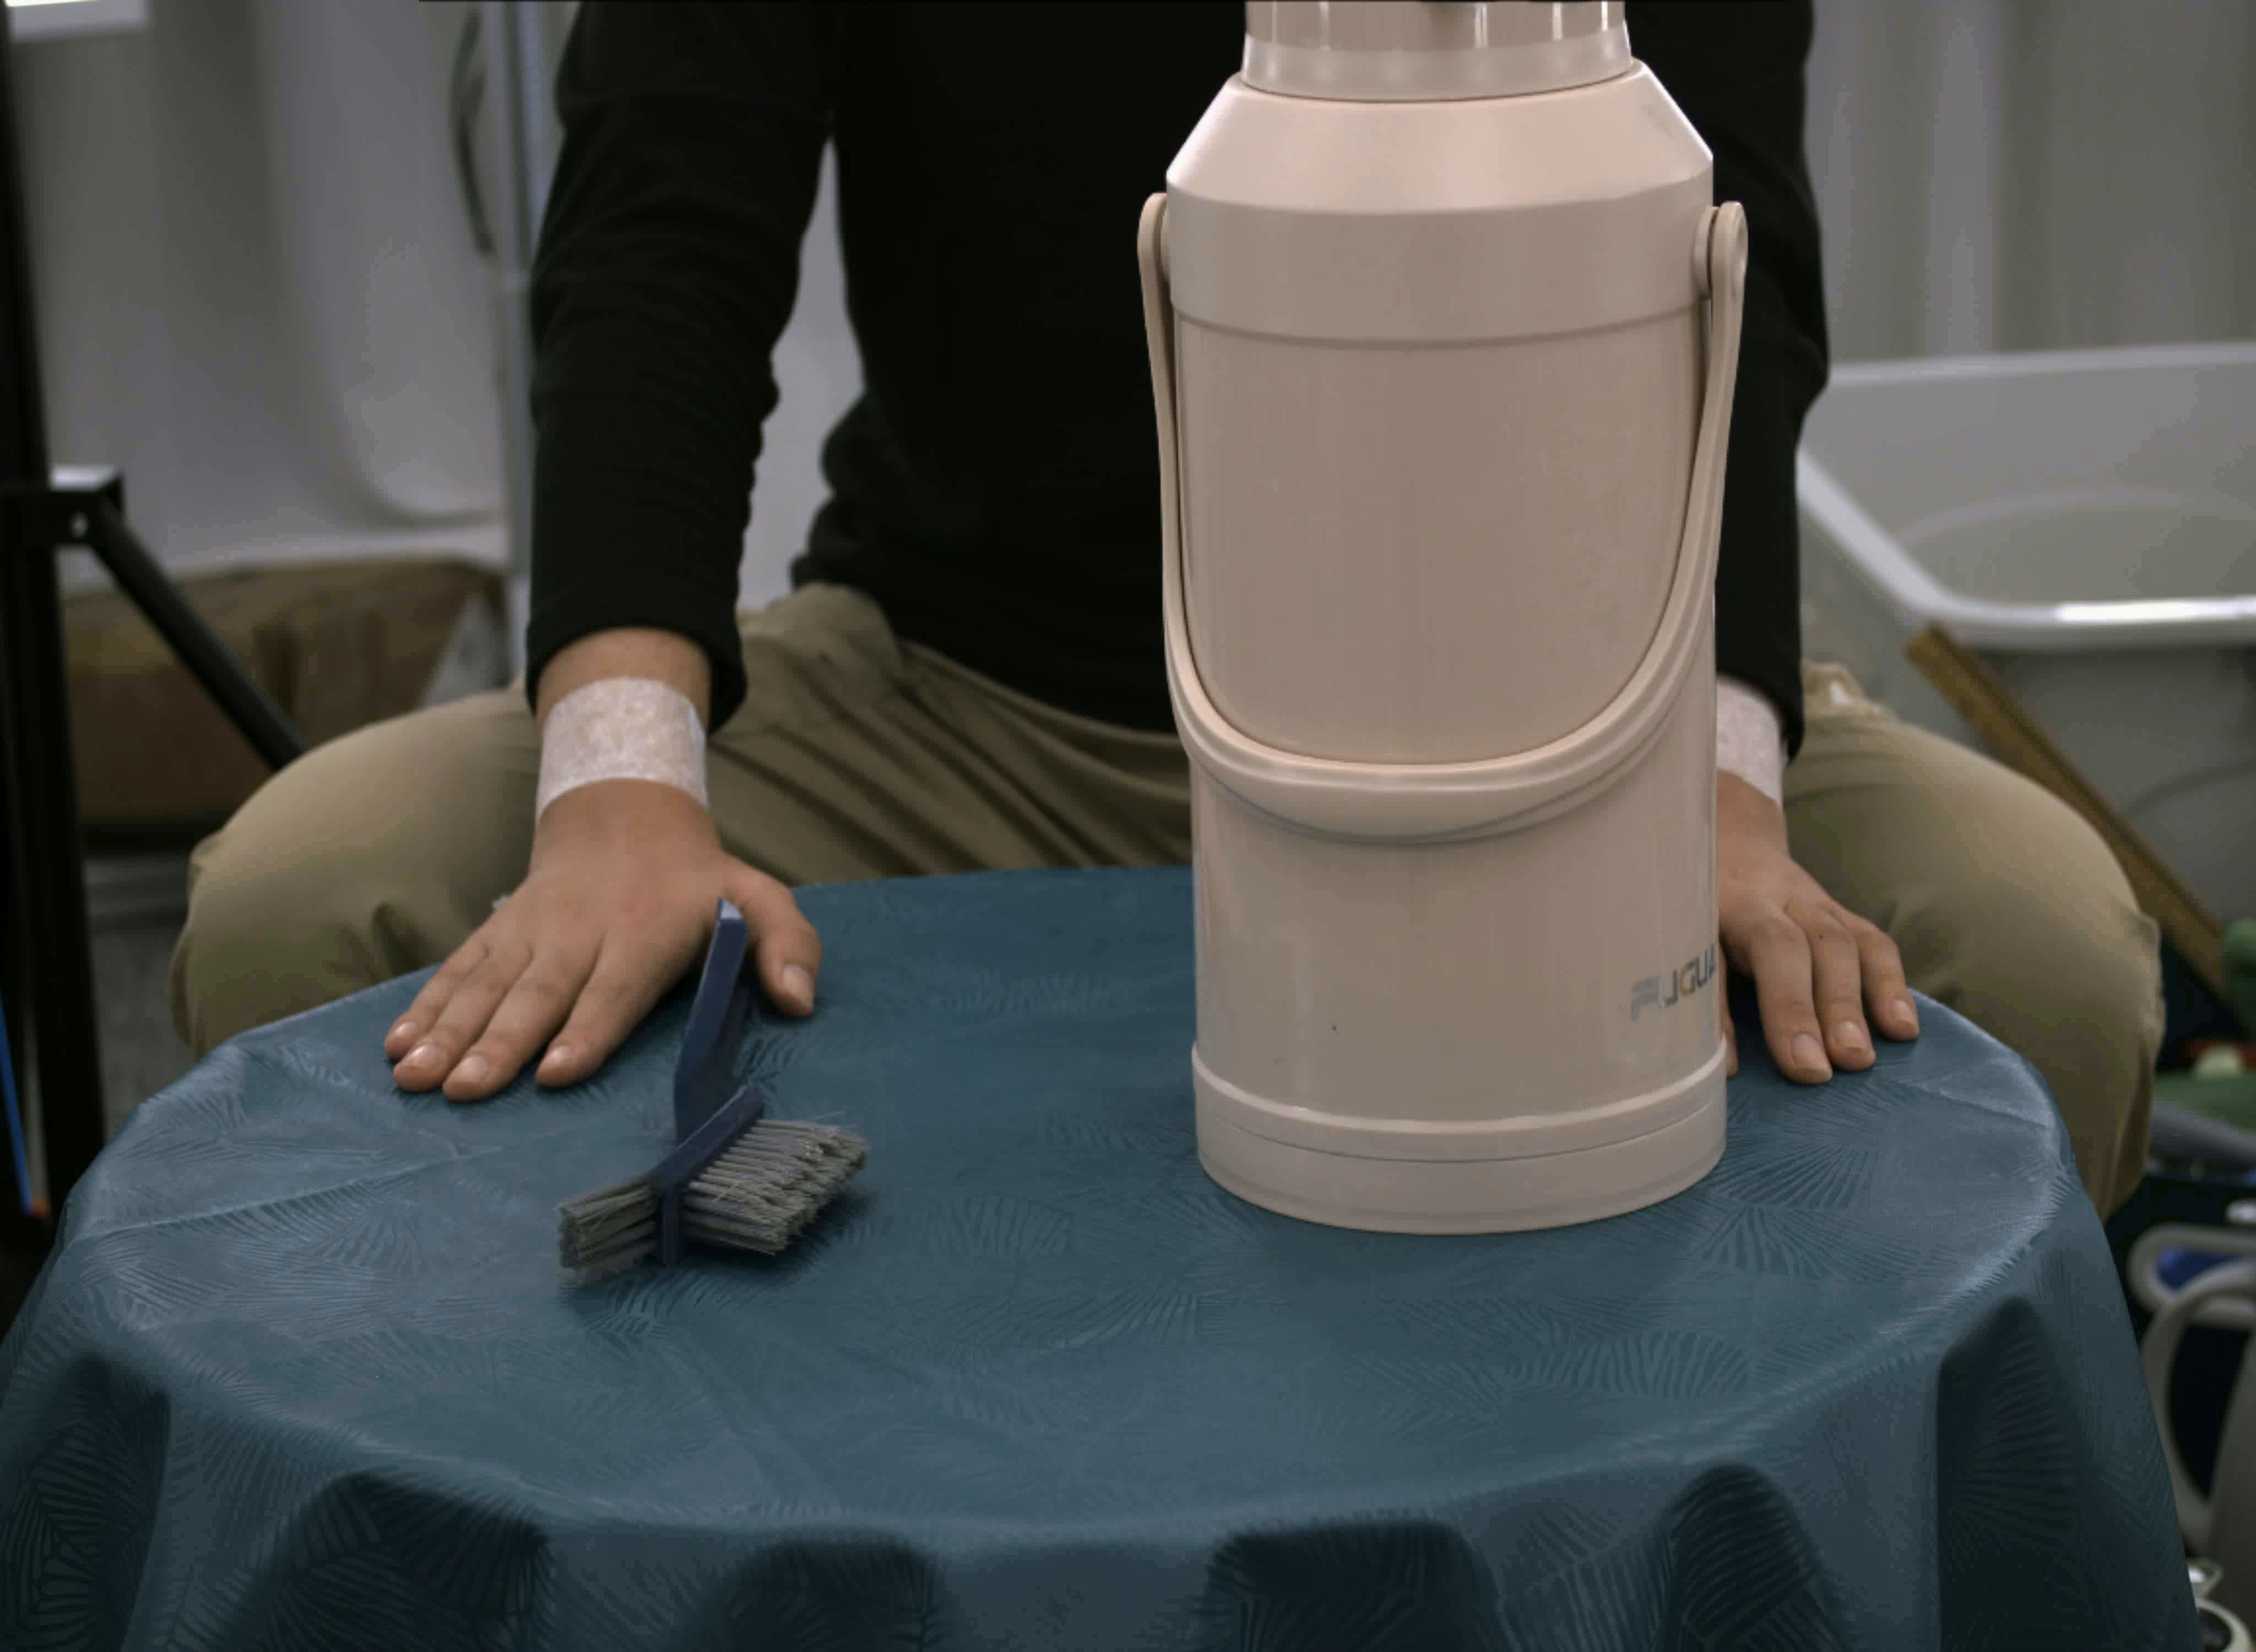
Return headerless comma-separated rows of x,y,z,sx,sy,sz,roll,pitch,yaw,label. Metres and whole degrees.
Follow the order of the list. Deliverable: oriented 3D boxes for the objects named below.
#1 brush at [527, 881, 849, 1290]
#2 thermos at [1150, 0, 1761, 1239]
-0.138,0.076,1.632,0.095,0.033,0.276,-2,18,-6,brush
0.101,-0.099,1.544,0.177,0.406,0.205,2,16,19,thermos
